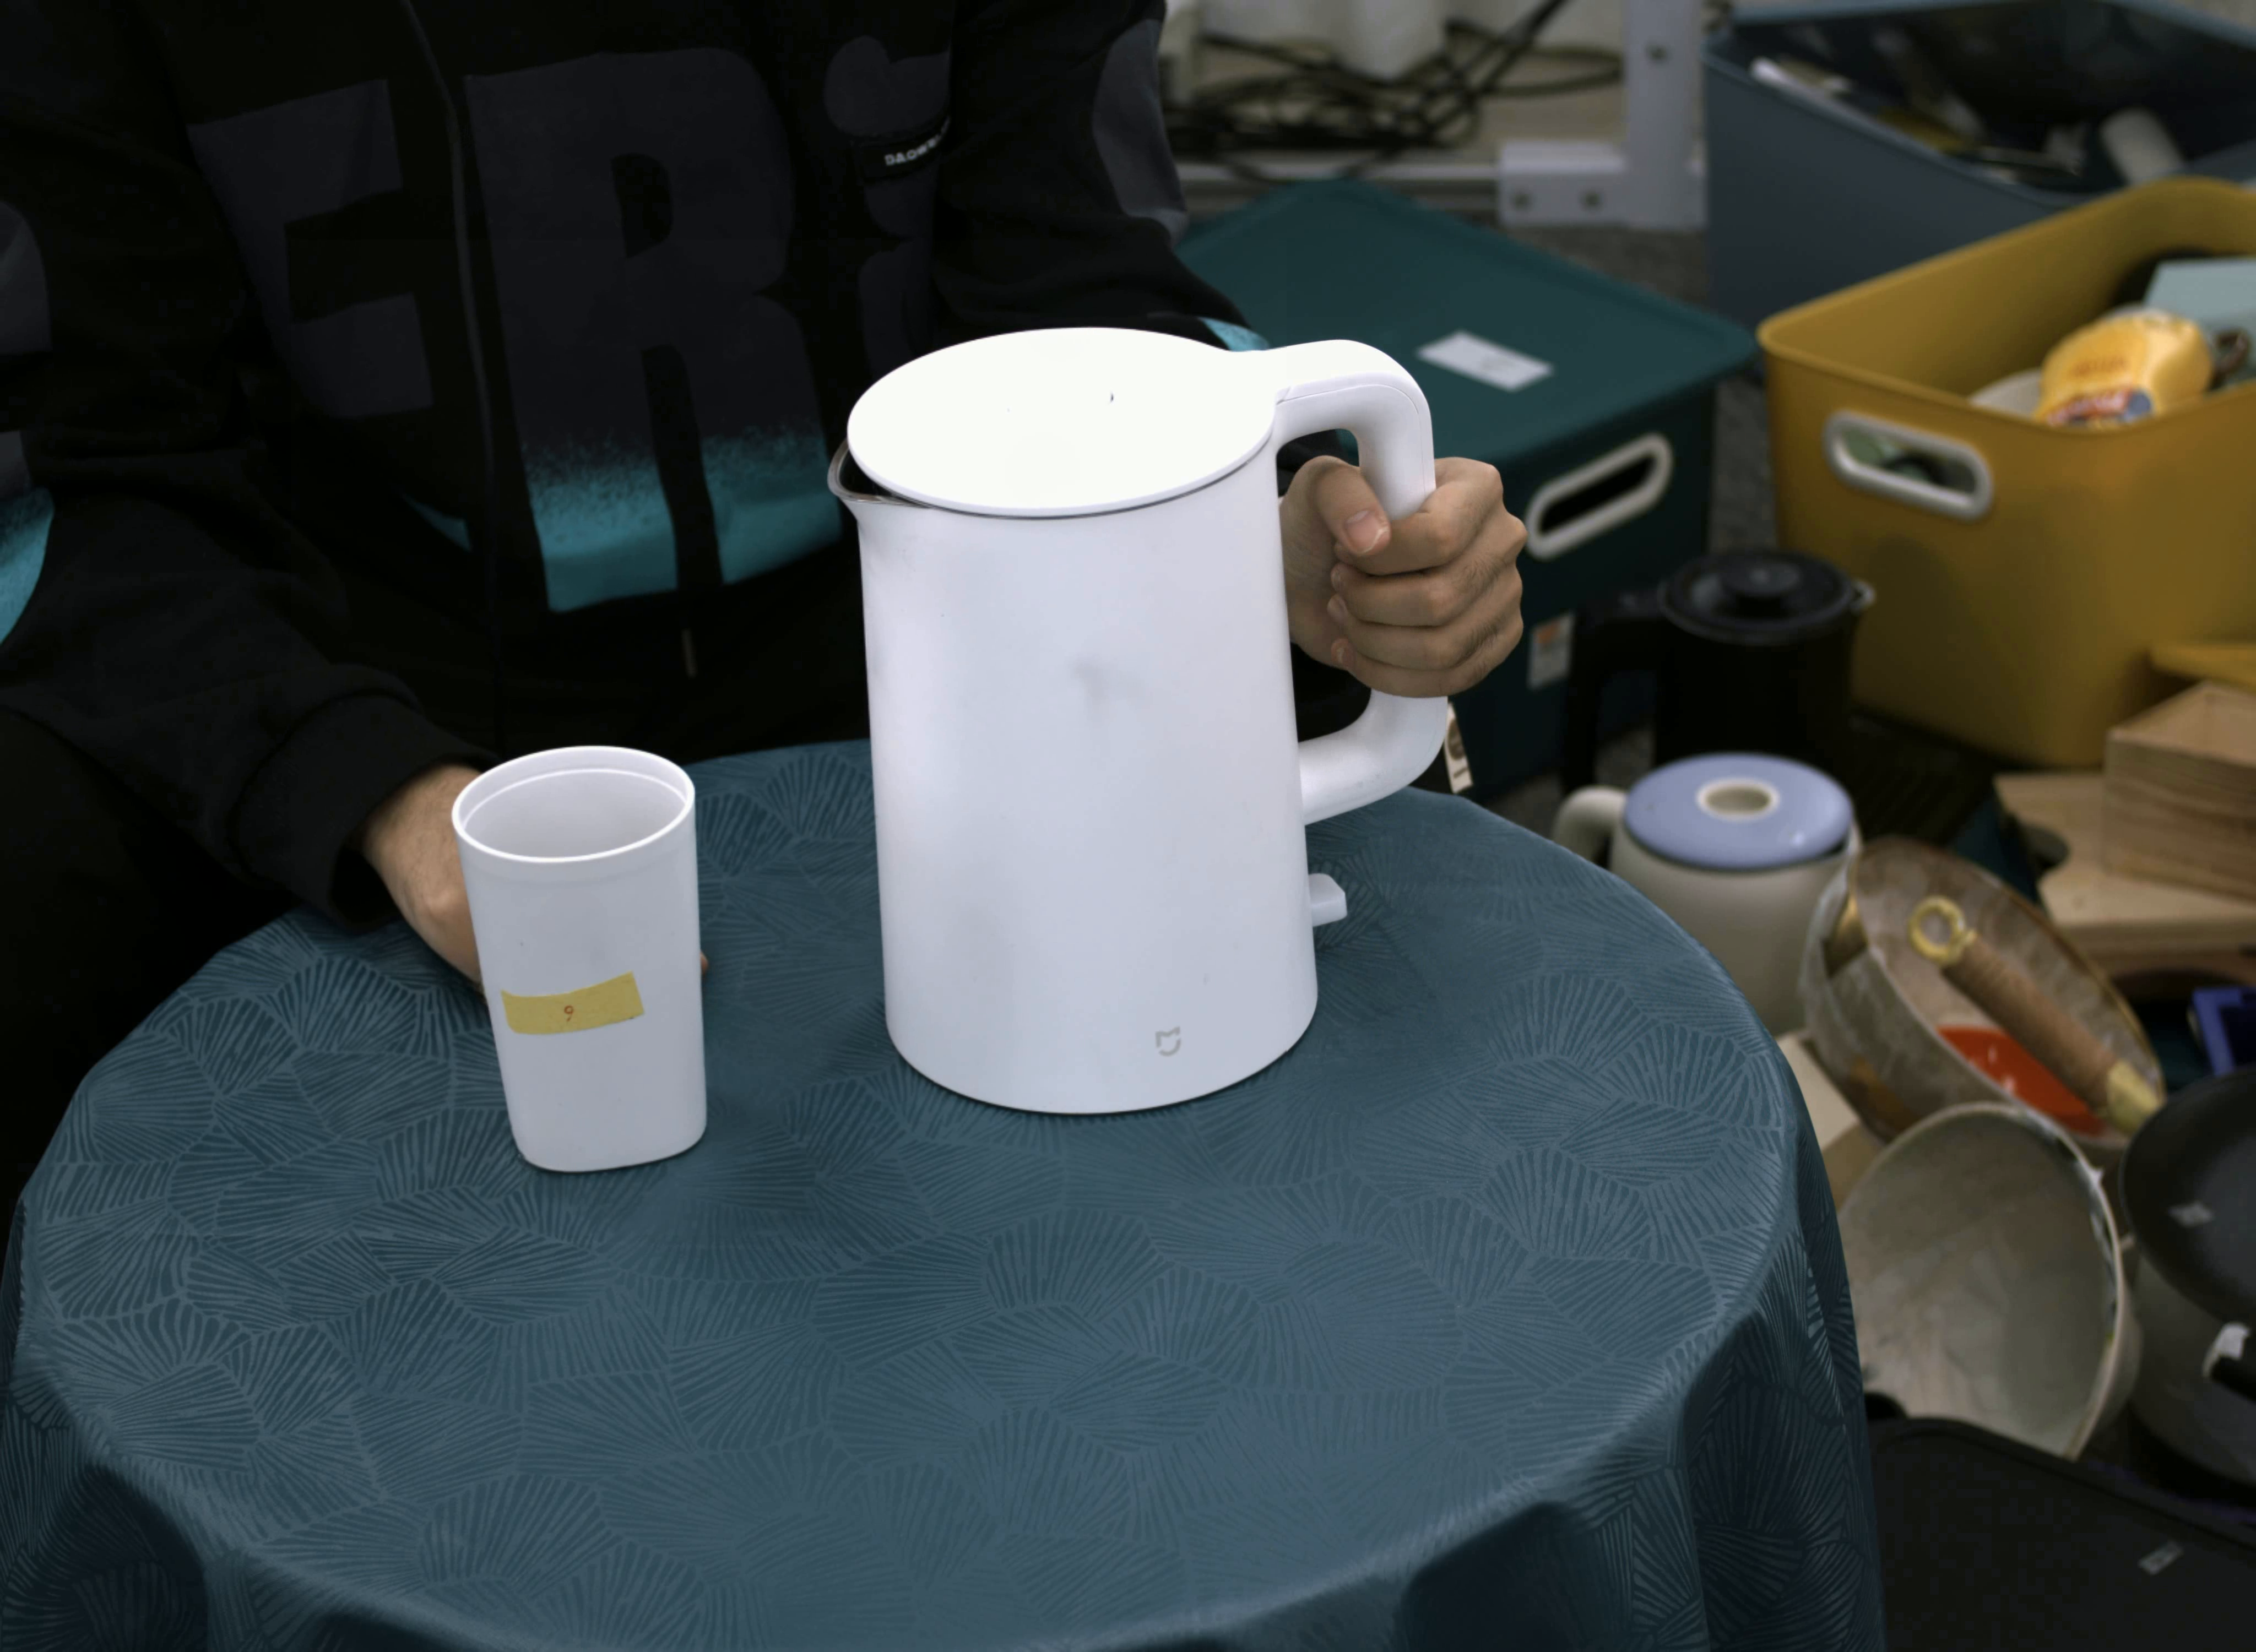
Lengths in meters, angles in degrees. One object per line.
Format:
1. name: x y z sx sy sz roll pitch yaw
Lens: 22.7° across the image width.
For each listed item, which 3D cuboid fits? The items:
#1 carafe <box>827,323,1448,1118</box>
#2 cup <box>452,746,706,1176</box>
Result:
1. carafe: 0.009 -0.043 1.927 0.214 0.237 0.153 -13 30 -17
2. cup: -0.180 0.047 1.887 0.081 0.124 0.083 -2 26 2
